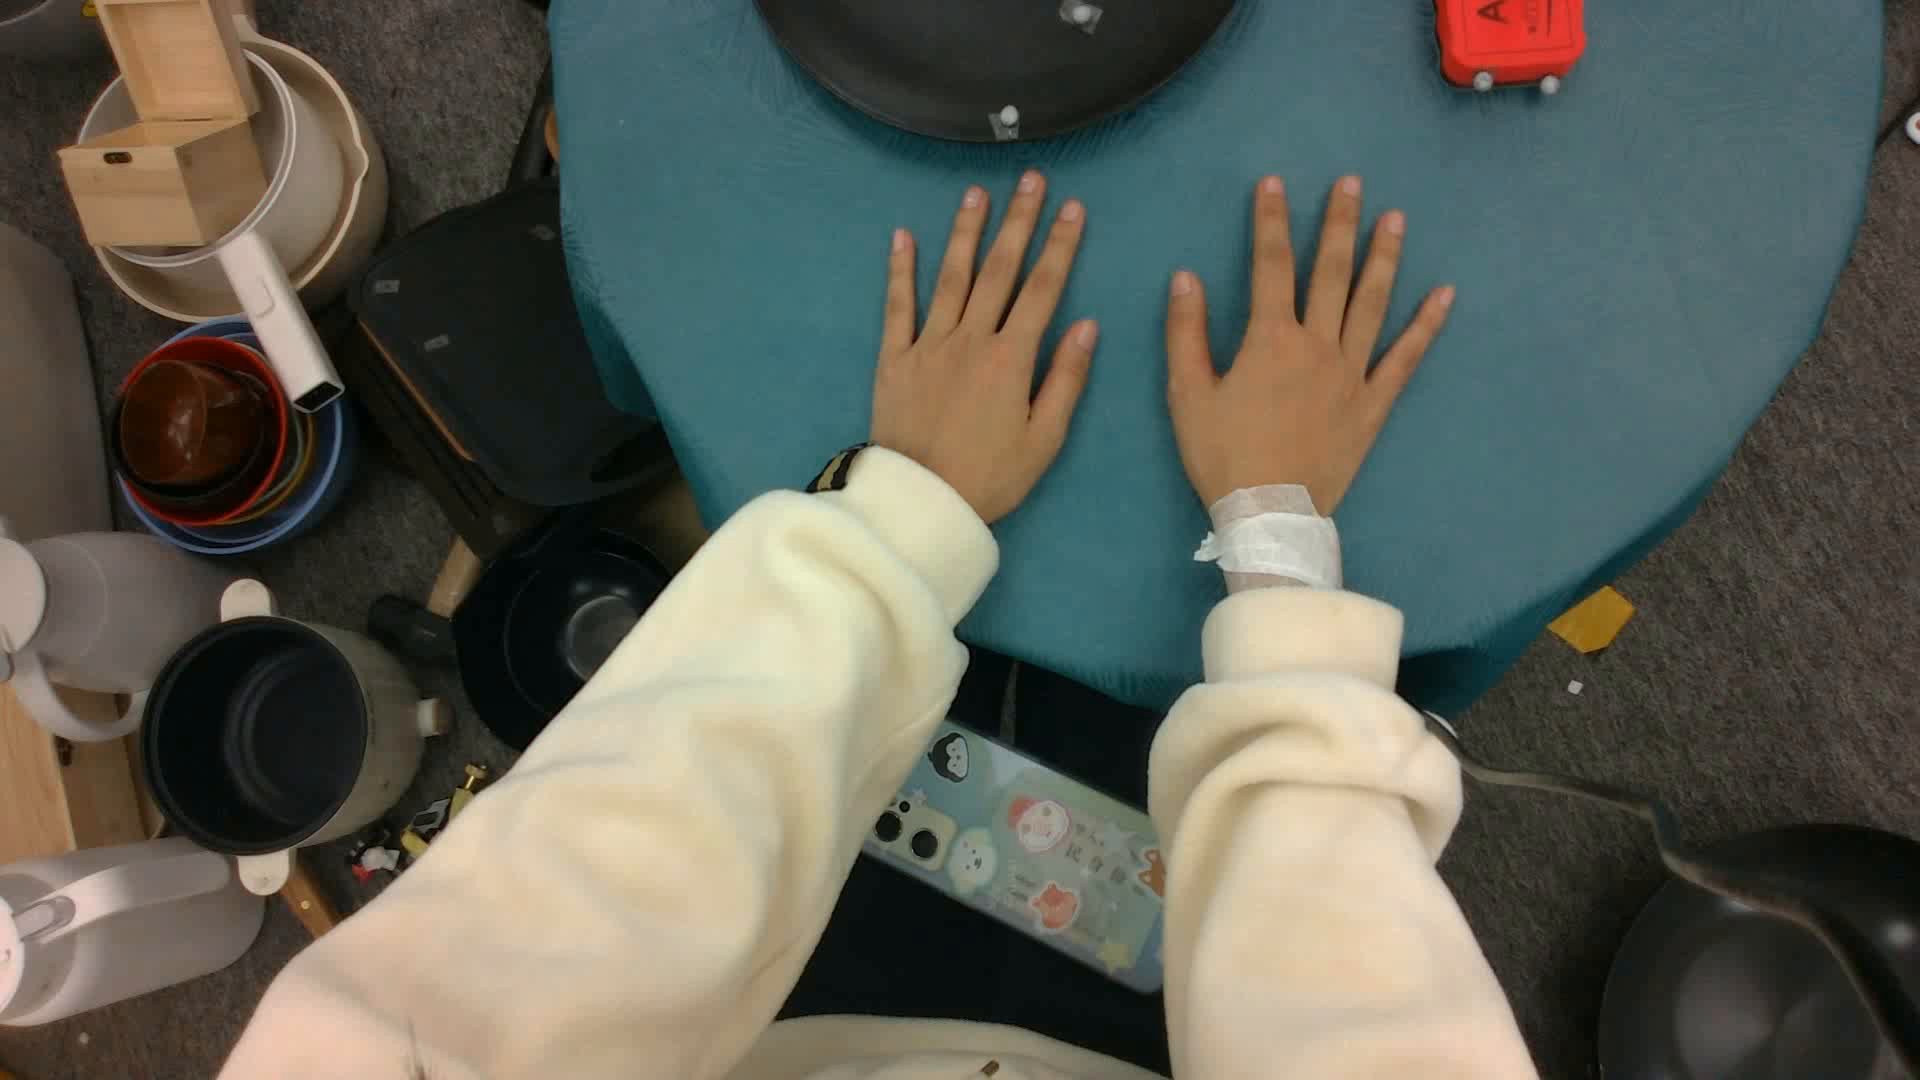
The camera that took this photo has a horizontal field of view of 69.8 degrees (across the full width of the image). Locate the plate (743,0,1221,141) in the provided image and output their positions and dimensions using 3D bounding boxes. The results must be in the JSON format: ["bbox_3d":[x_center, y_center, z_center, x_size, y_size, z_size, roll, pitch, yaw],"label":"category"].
[{"bbox_3d":[0.011,-0.296,0.631,0.244,0.023,0.244,0,83,3],"label":"plate"}]

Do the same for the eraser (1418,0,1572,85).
[{"bbox_3d":[0.232,-0.258,0.609,0.059,0.023,0.108,-4,80,2],"label":"eraser"}]
